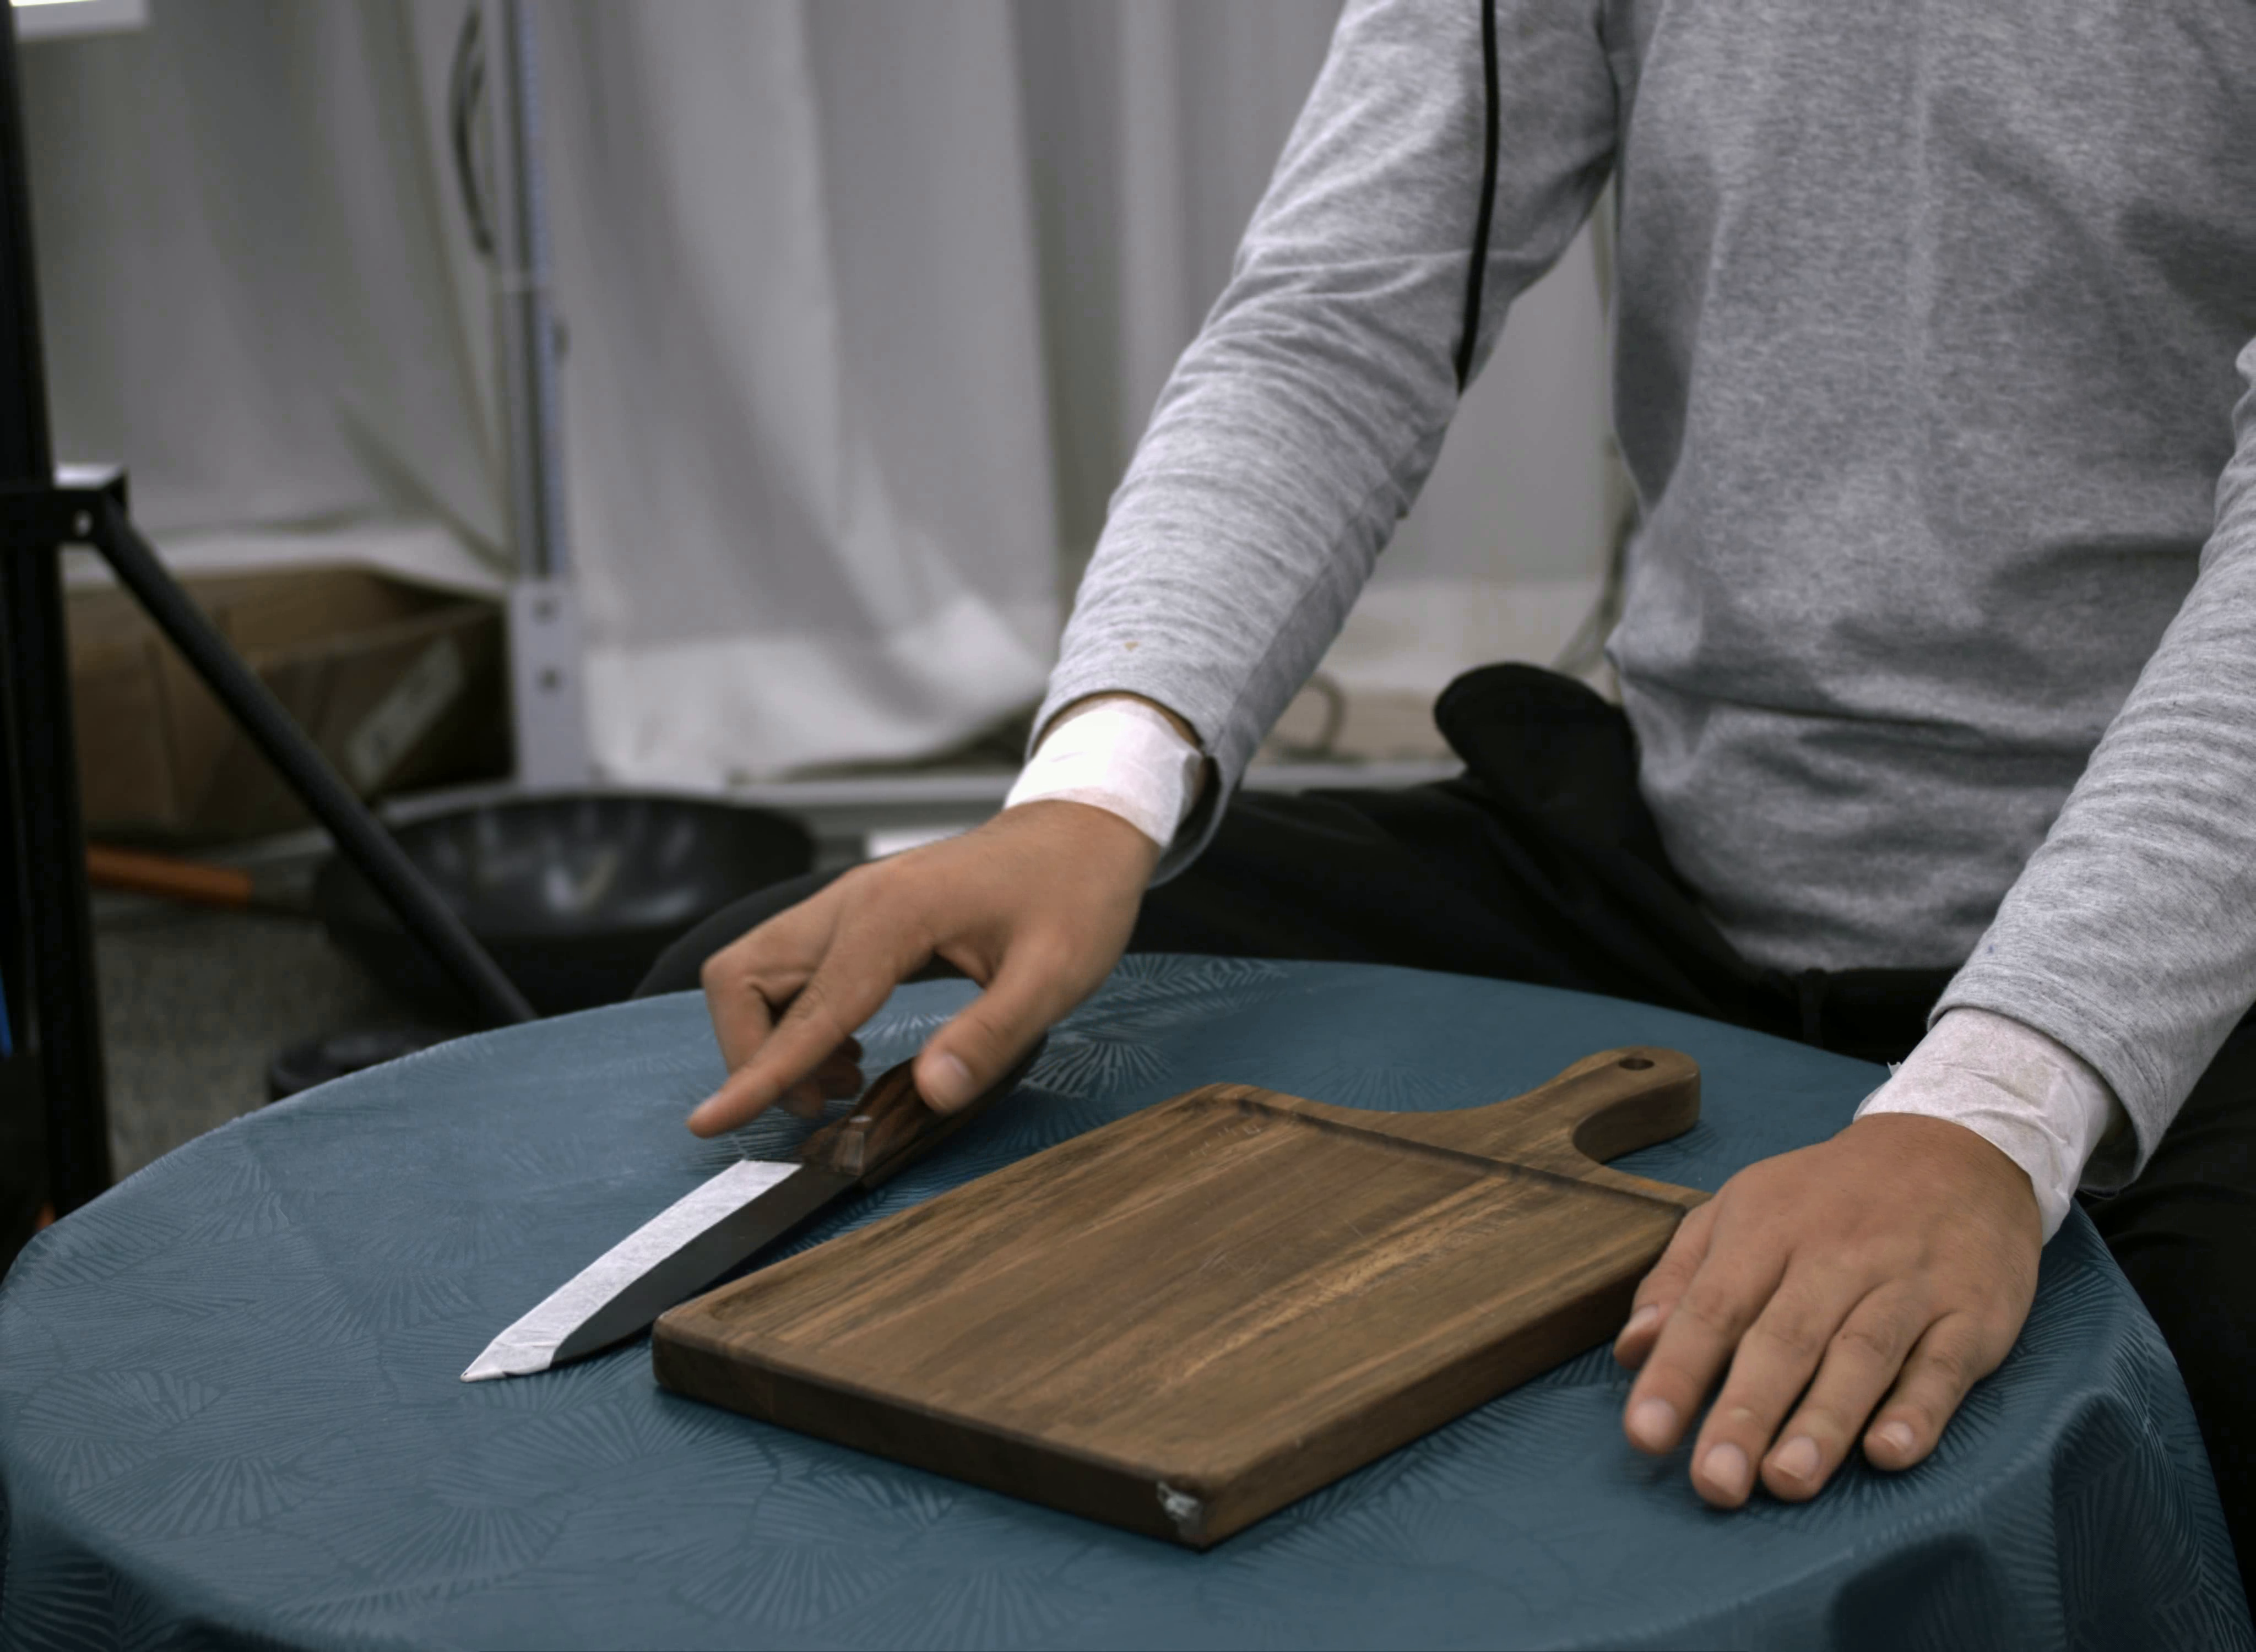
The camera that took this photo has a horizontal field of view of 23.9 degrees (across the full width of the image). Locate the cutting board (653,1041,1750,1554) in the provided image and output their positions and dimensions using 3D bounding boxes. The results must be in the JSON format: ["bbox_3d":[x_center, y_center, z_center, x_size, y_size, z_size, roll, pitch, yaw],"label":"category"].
[{"bbox_3d":[0.055,0.117,1.486,0.205,0.023,0.344,12,21,39],"label":"cutting board"}]

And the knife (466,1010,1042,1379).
[{"bbox_3d":[-0.104,0.108,1.552,0.051,0.020,0.284,4,19,31],"label":"knife"}]
